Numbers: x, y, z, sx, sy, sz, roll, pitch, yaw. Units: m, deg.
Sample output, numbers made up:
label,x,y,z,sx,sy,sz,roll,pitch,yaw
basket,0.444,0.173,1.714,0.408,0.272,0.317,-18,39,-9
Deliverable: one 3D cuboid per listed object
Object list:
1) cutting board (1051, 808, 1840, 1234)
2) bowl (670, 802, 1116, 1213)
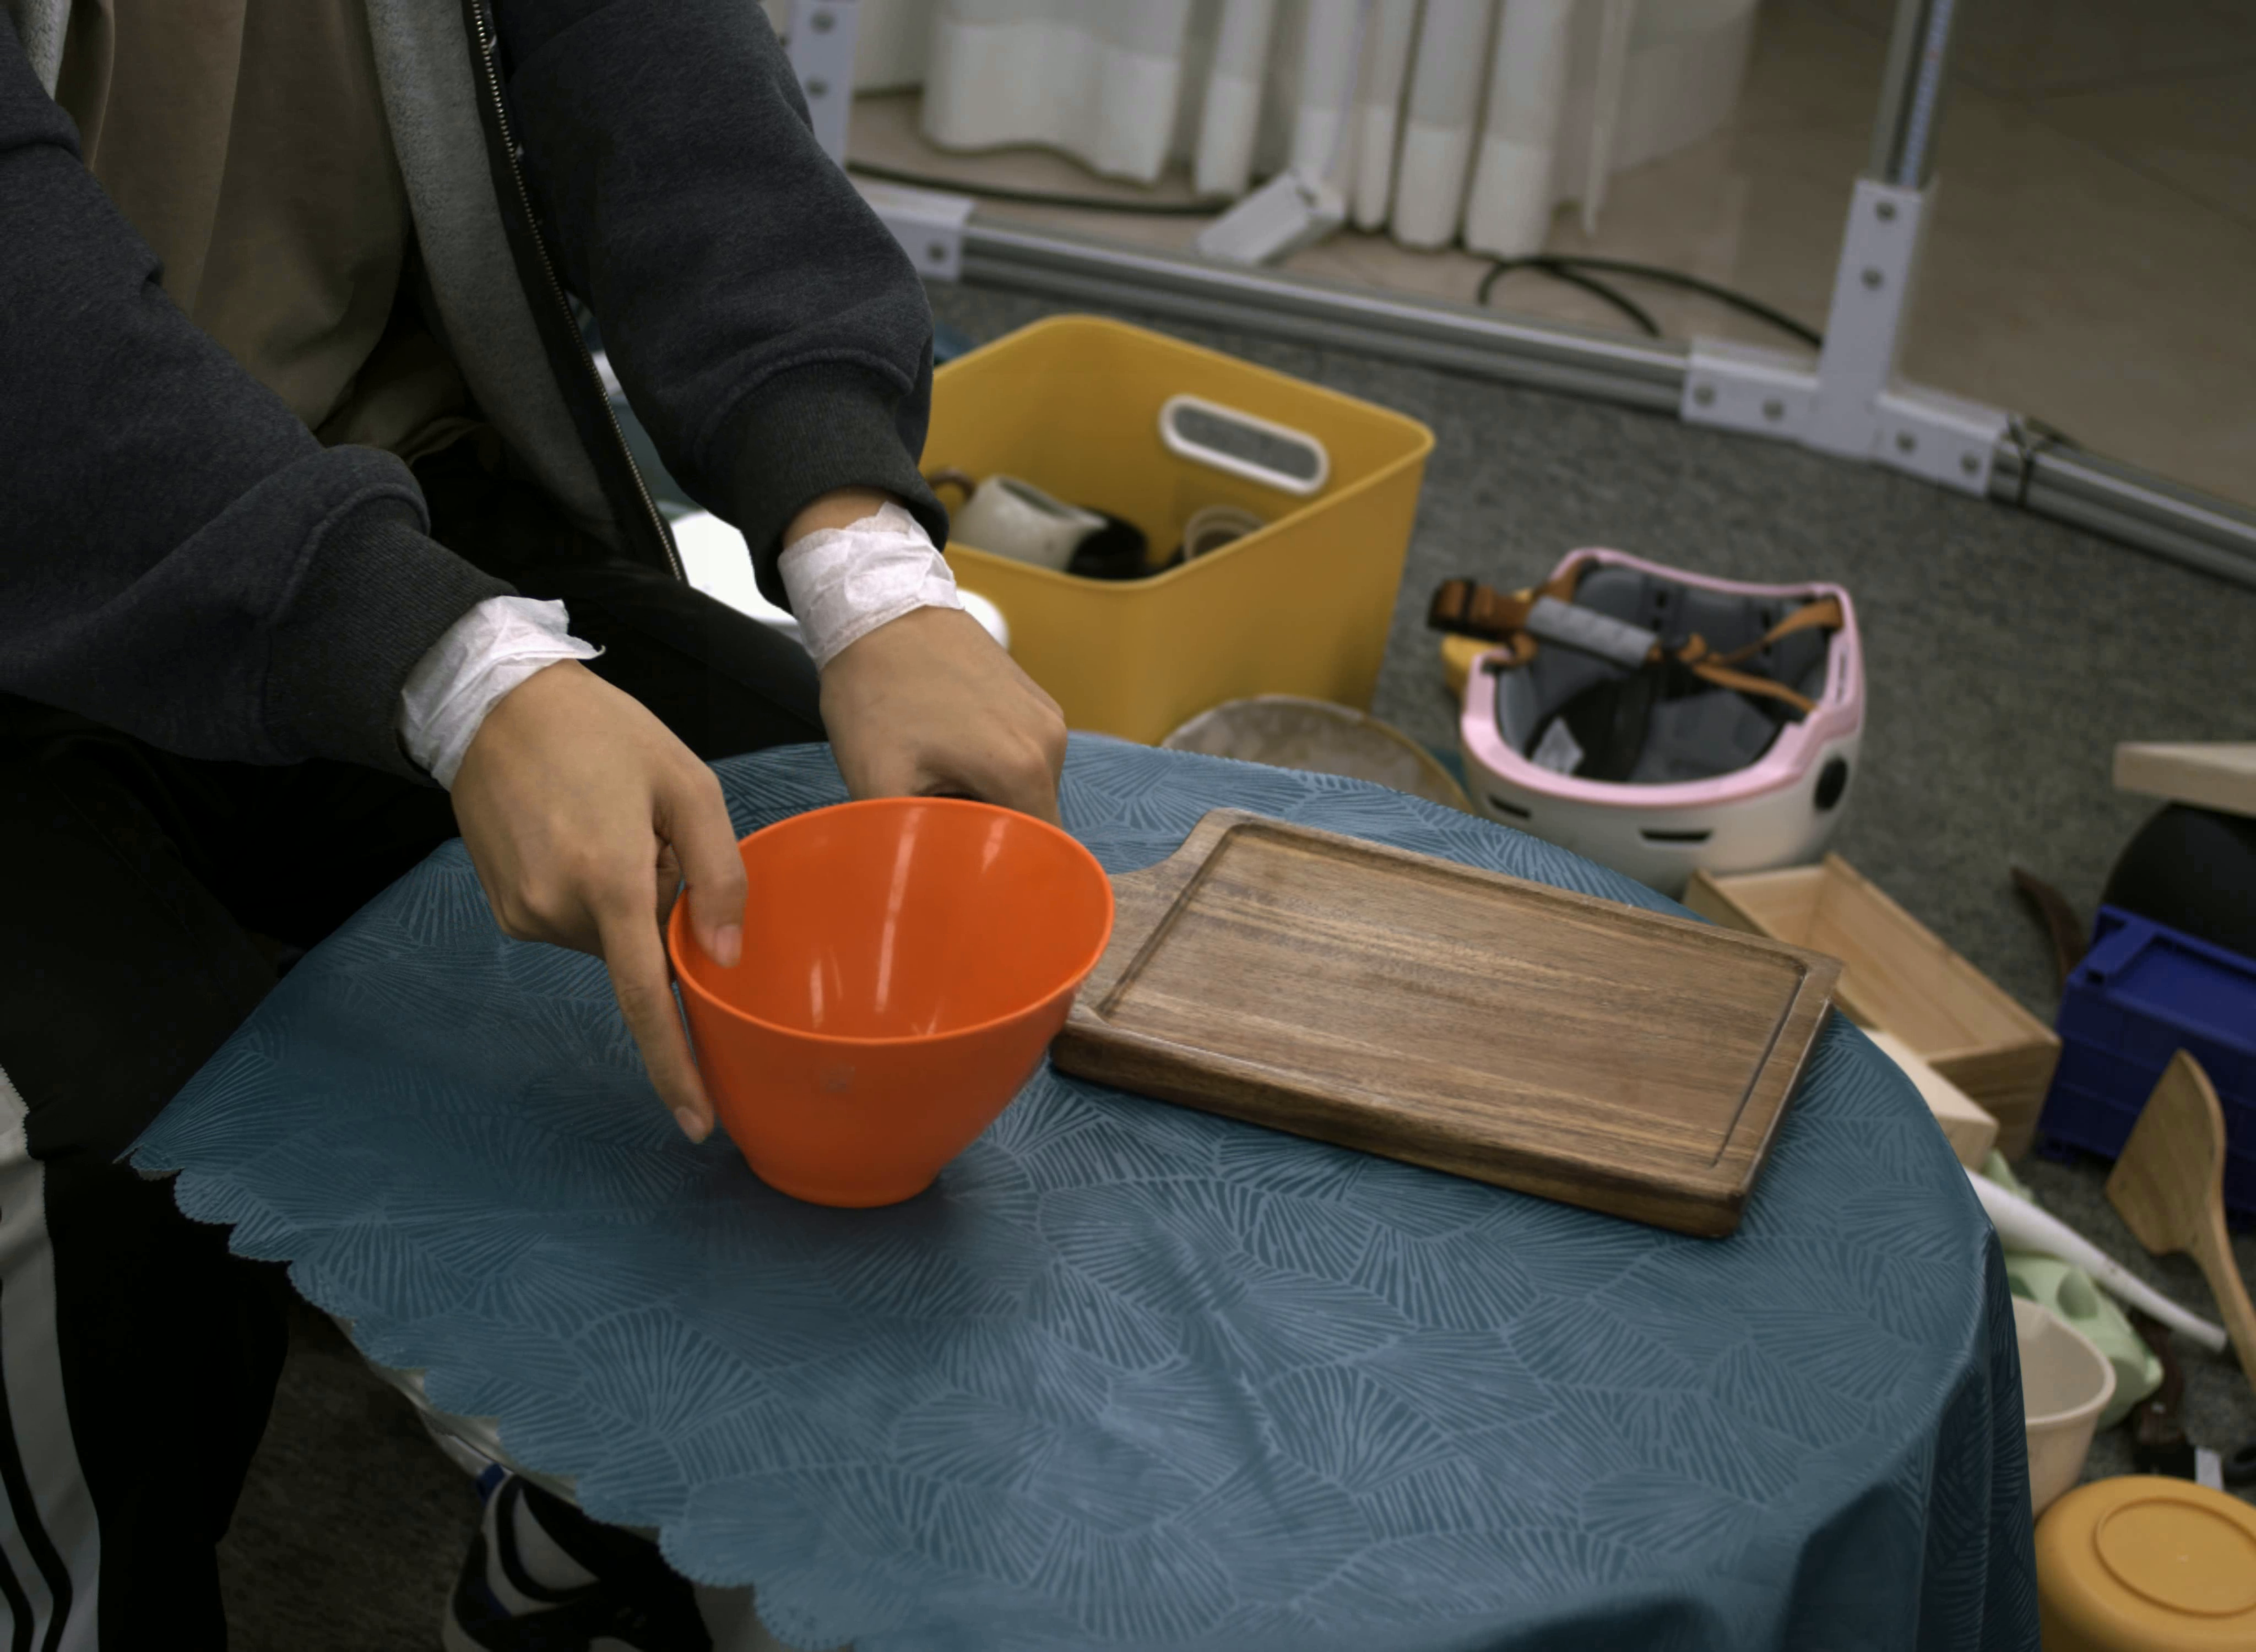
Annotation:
label,x,y,z,sx,sy,sz,roll,pitch,yaw
cutting board,0.072,0.055,1.929,0.352,0.023,0.201,13,27,14
bowl,-0.082,0.067,1.783,0.147,0.104,0.149,6,27,-3
